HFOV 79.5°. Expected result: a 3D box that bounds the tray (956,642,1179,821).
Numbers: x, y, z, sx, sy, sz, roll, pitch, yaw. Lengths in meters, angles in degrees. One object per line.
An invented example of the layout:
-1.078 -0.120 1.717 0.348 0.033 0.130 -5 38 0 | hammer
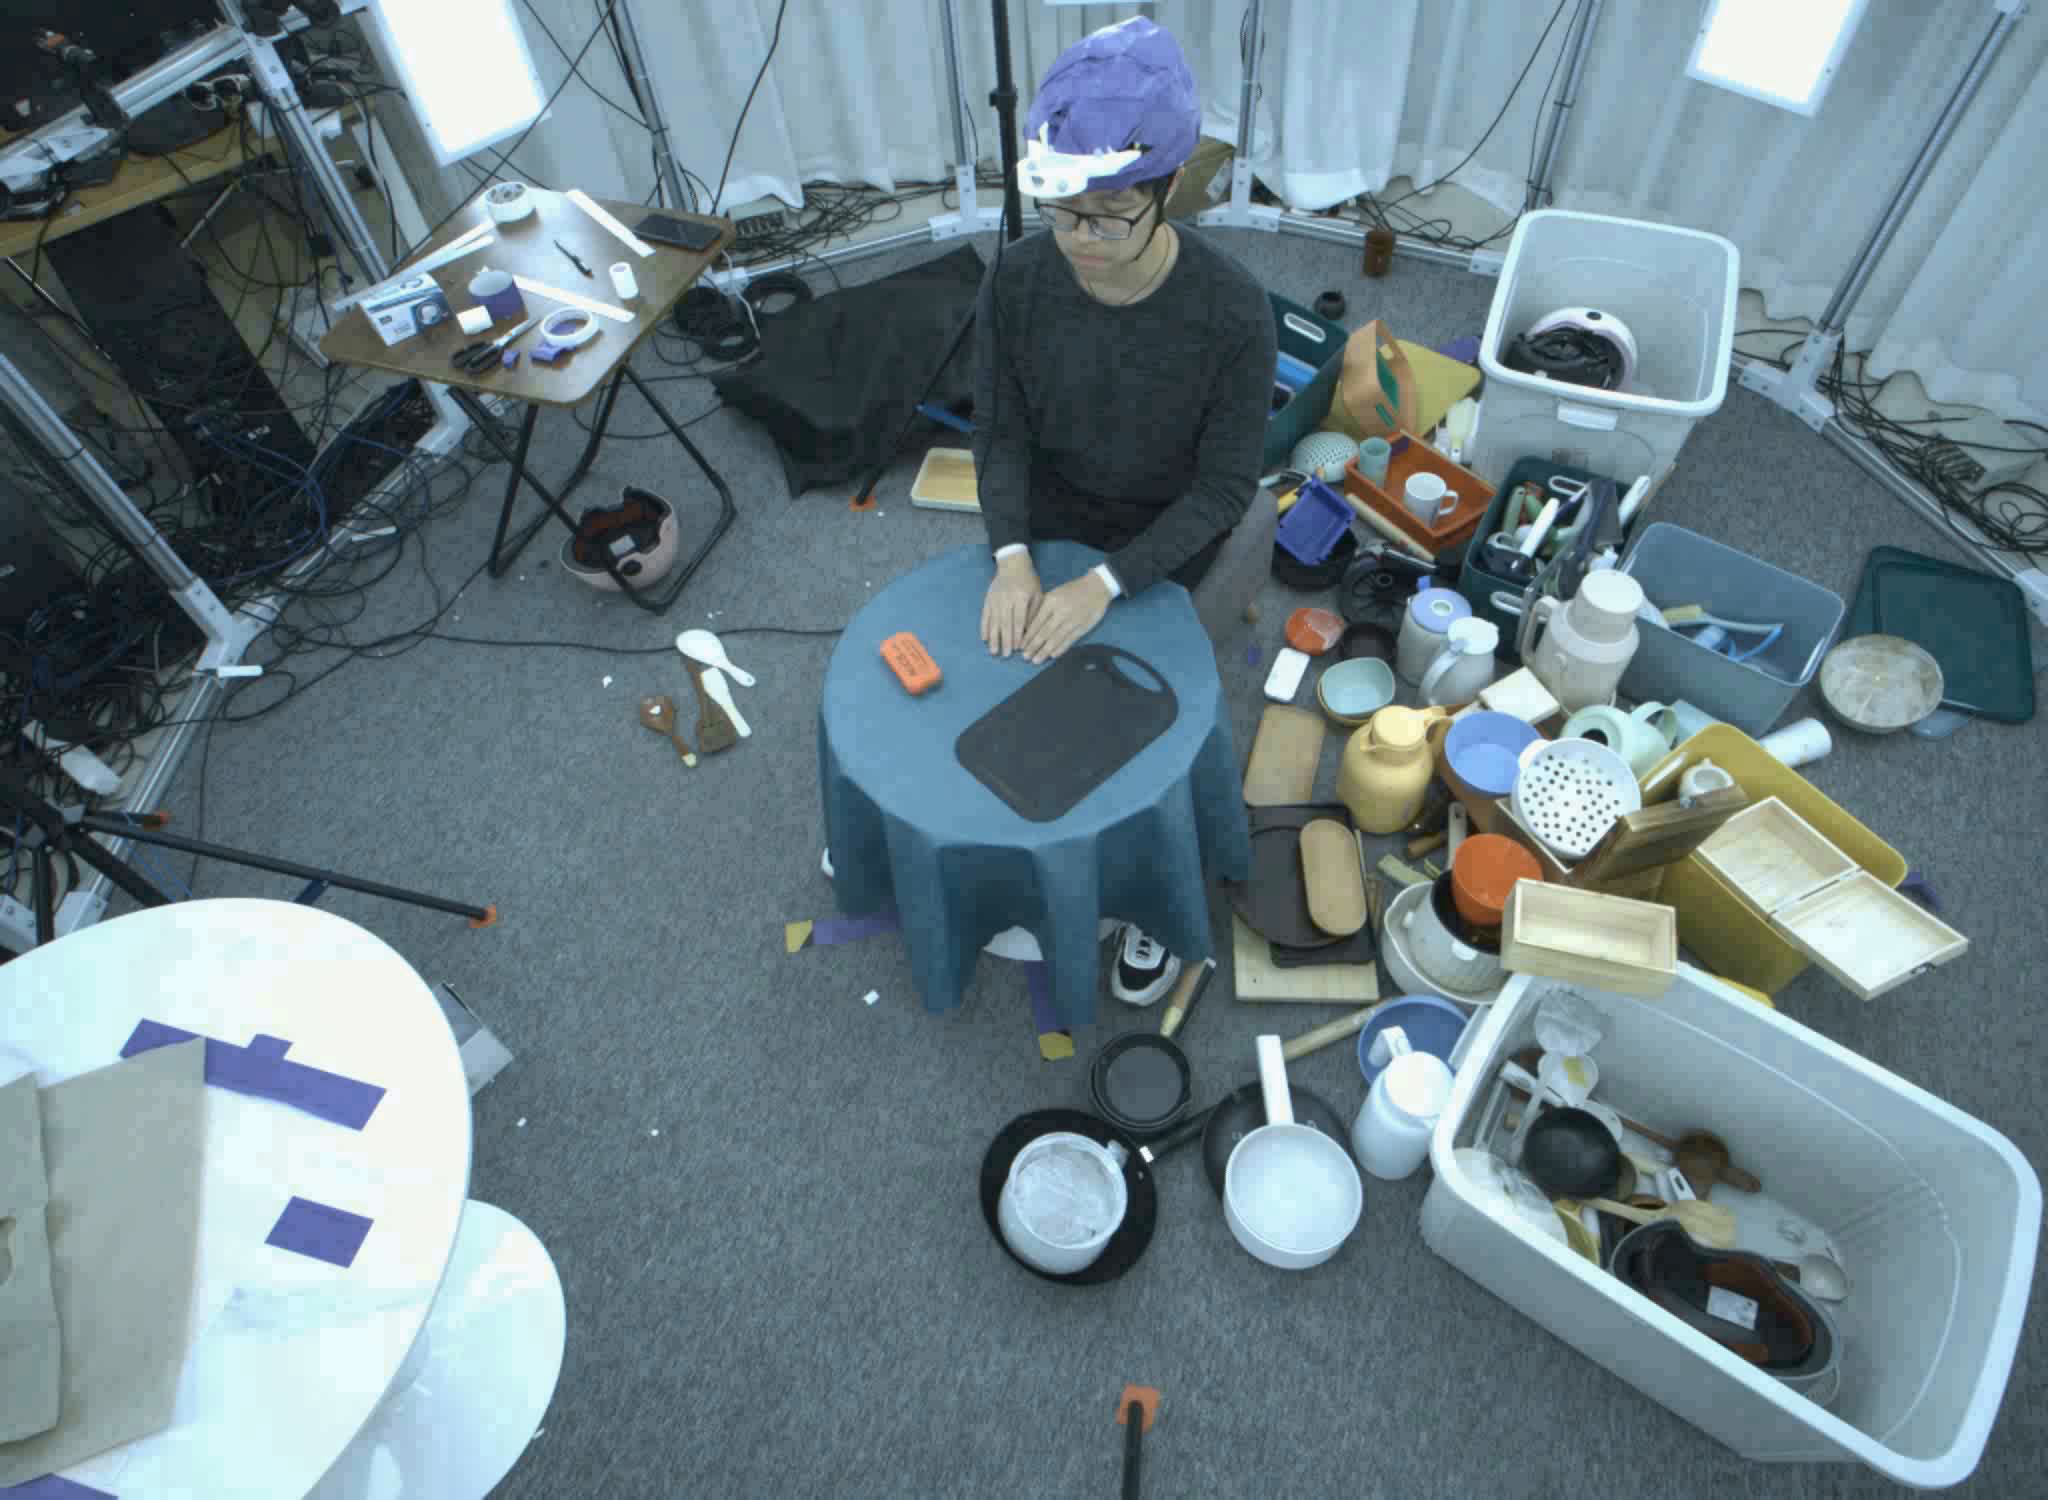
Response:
0.070 -0.040 1.809 0.328 0.010 0.207 -38 62 -22 | tray

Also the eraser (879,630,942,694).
-0.174 -0.135 1.870 0.059 0.023 0.106 -27 56 -18 | eraser
